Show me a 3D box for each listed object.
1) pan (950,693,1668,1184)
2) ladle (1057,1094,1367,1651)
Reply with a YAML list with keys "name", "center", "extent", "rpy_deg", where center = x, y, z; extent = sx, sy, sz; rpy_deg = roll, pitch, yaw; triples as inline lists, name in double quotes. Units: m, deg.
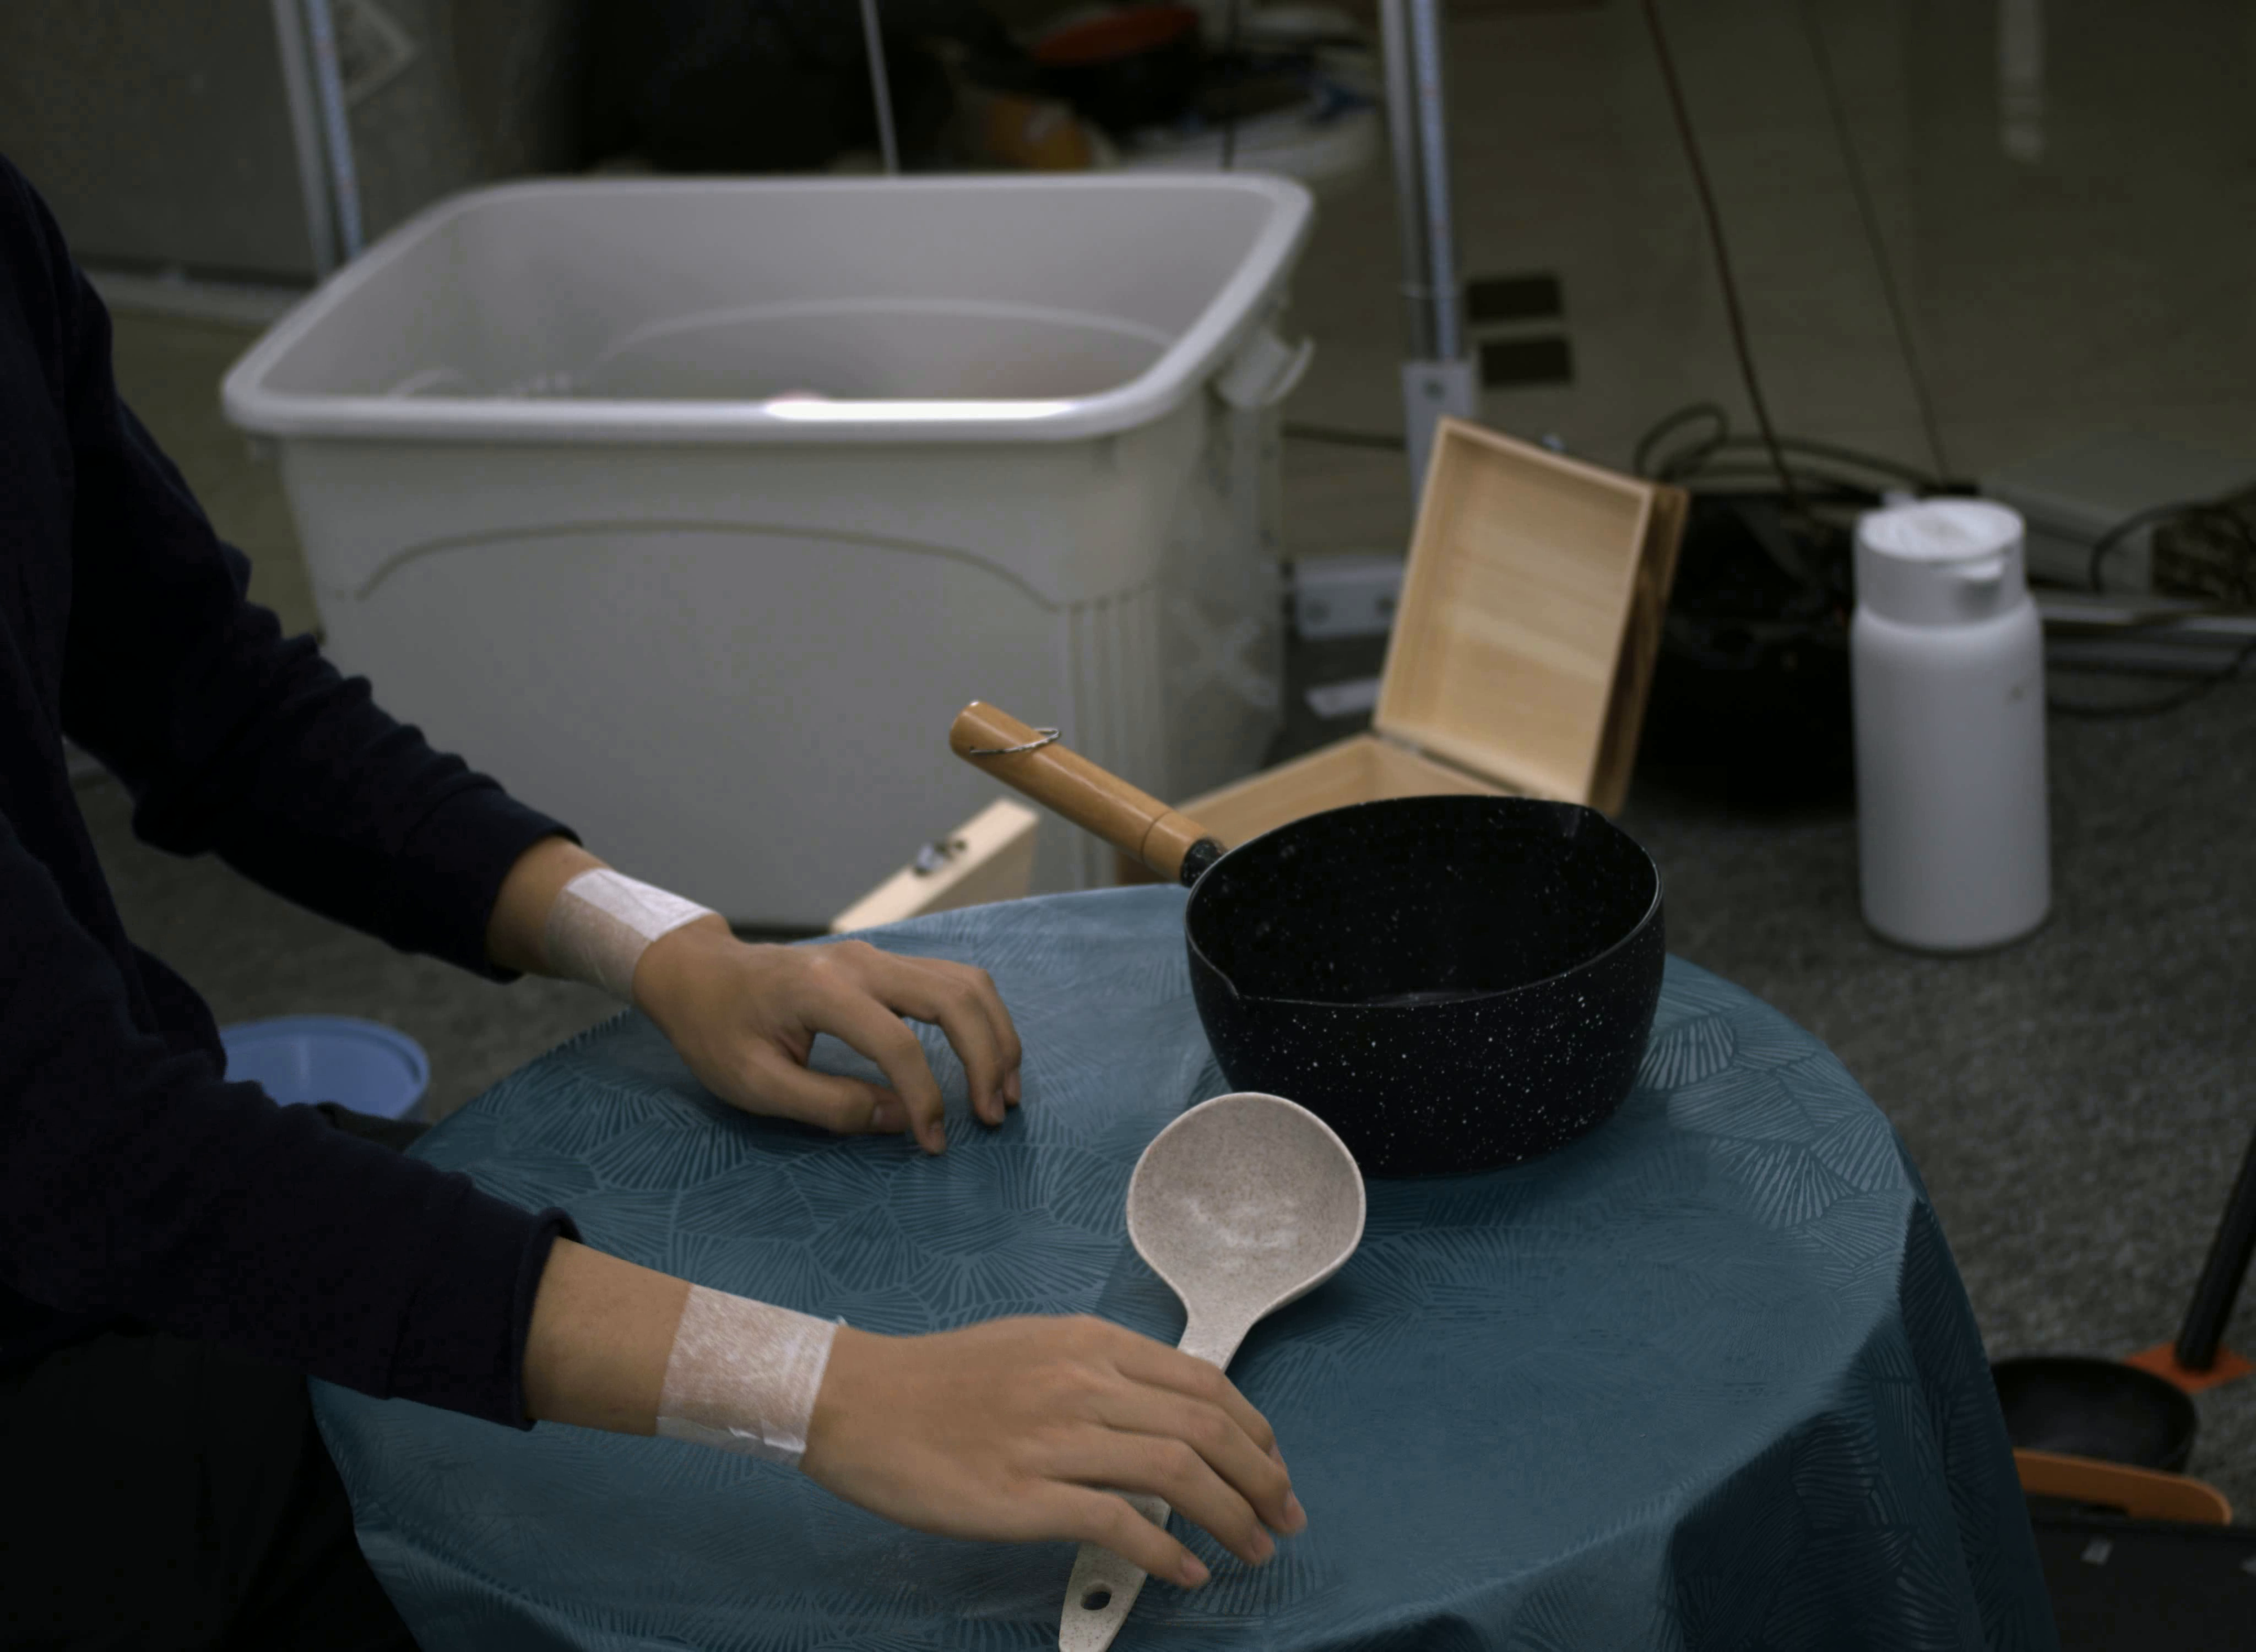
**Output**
- name: "pan"
  center: [0.057, 0.036, 2.223]
  extent: [0.340, 0.110, 0.205]
  rpy_deg: [18, 36, 39]
- name: "ladle"
  center: [0.016, 0.184, 1.963]
  extent: [0.089, 0.070, 0.271]
  rpy_deg: [7, 27, 13]
